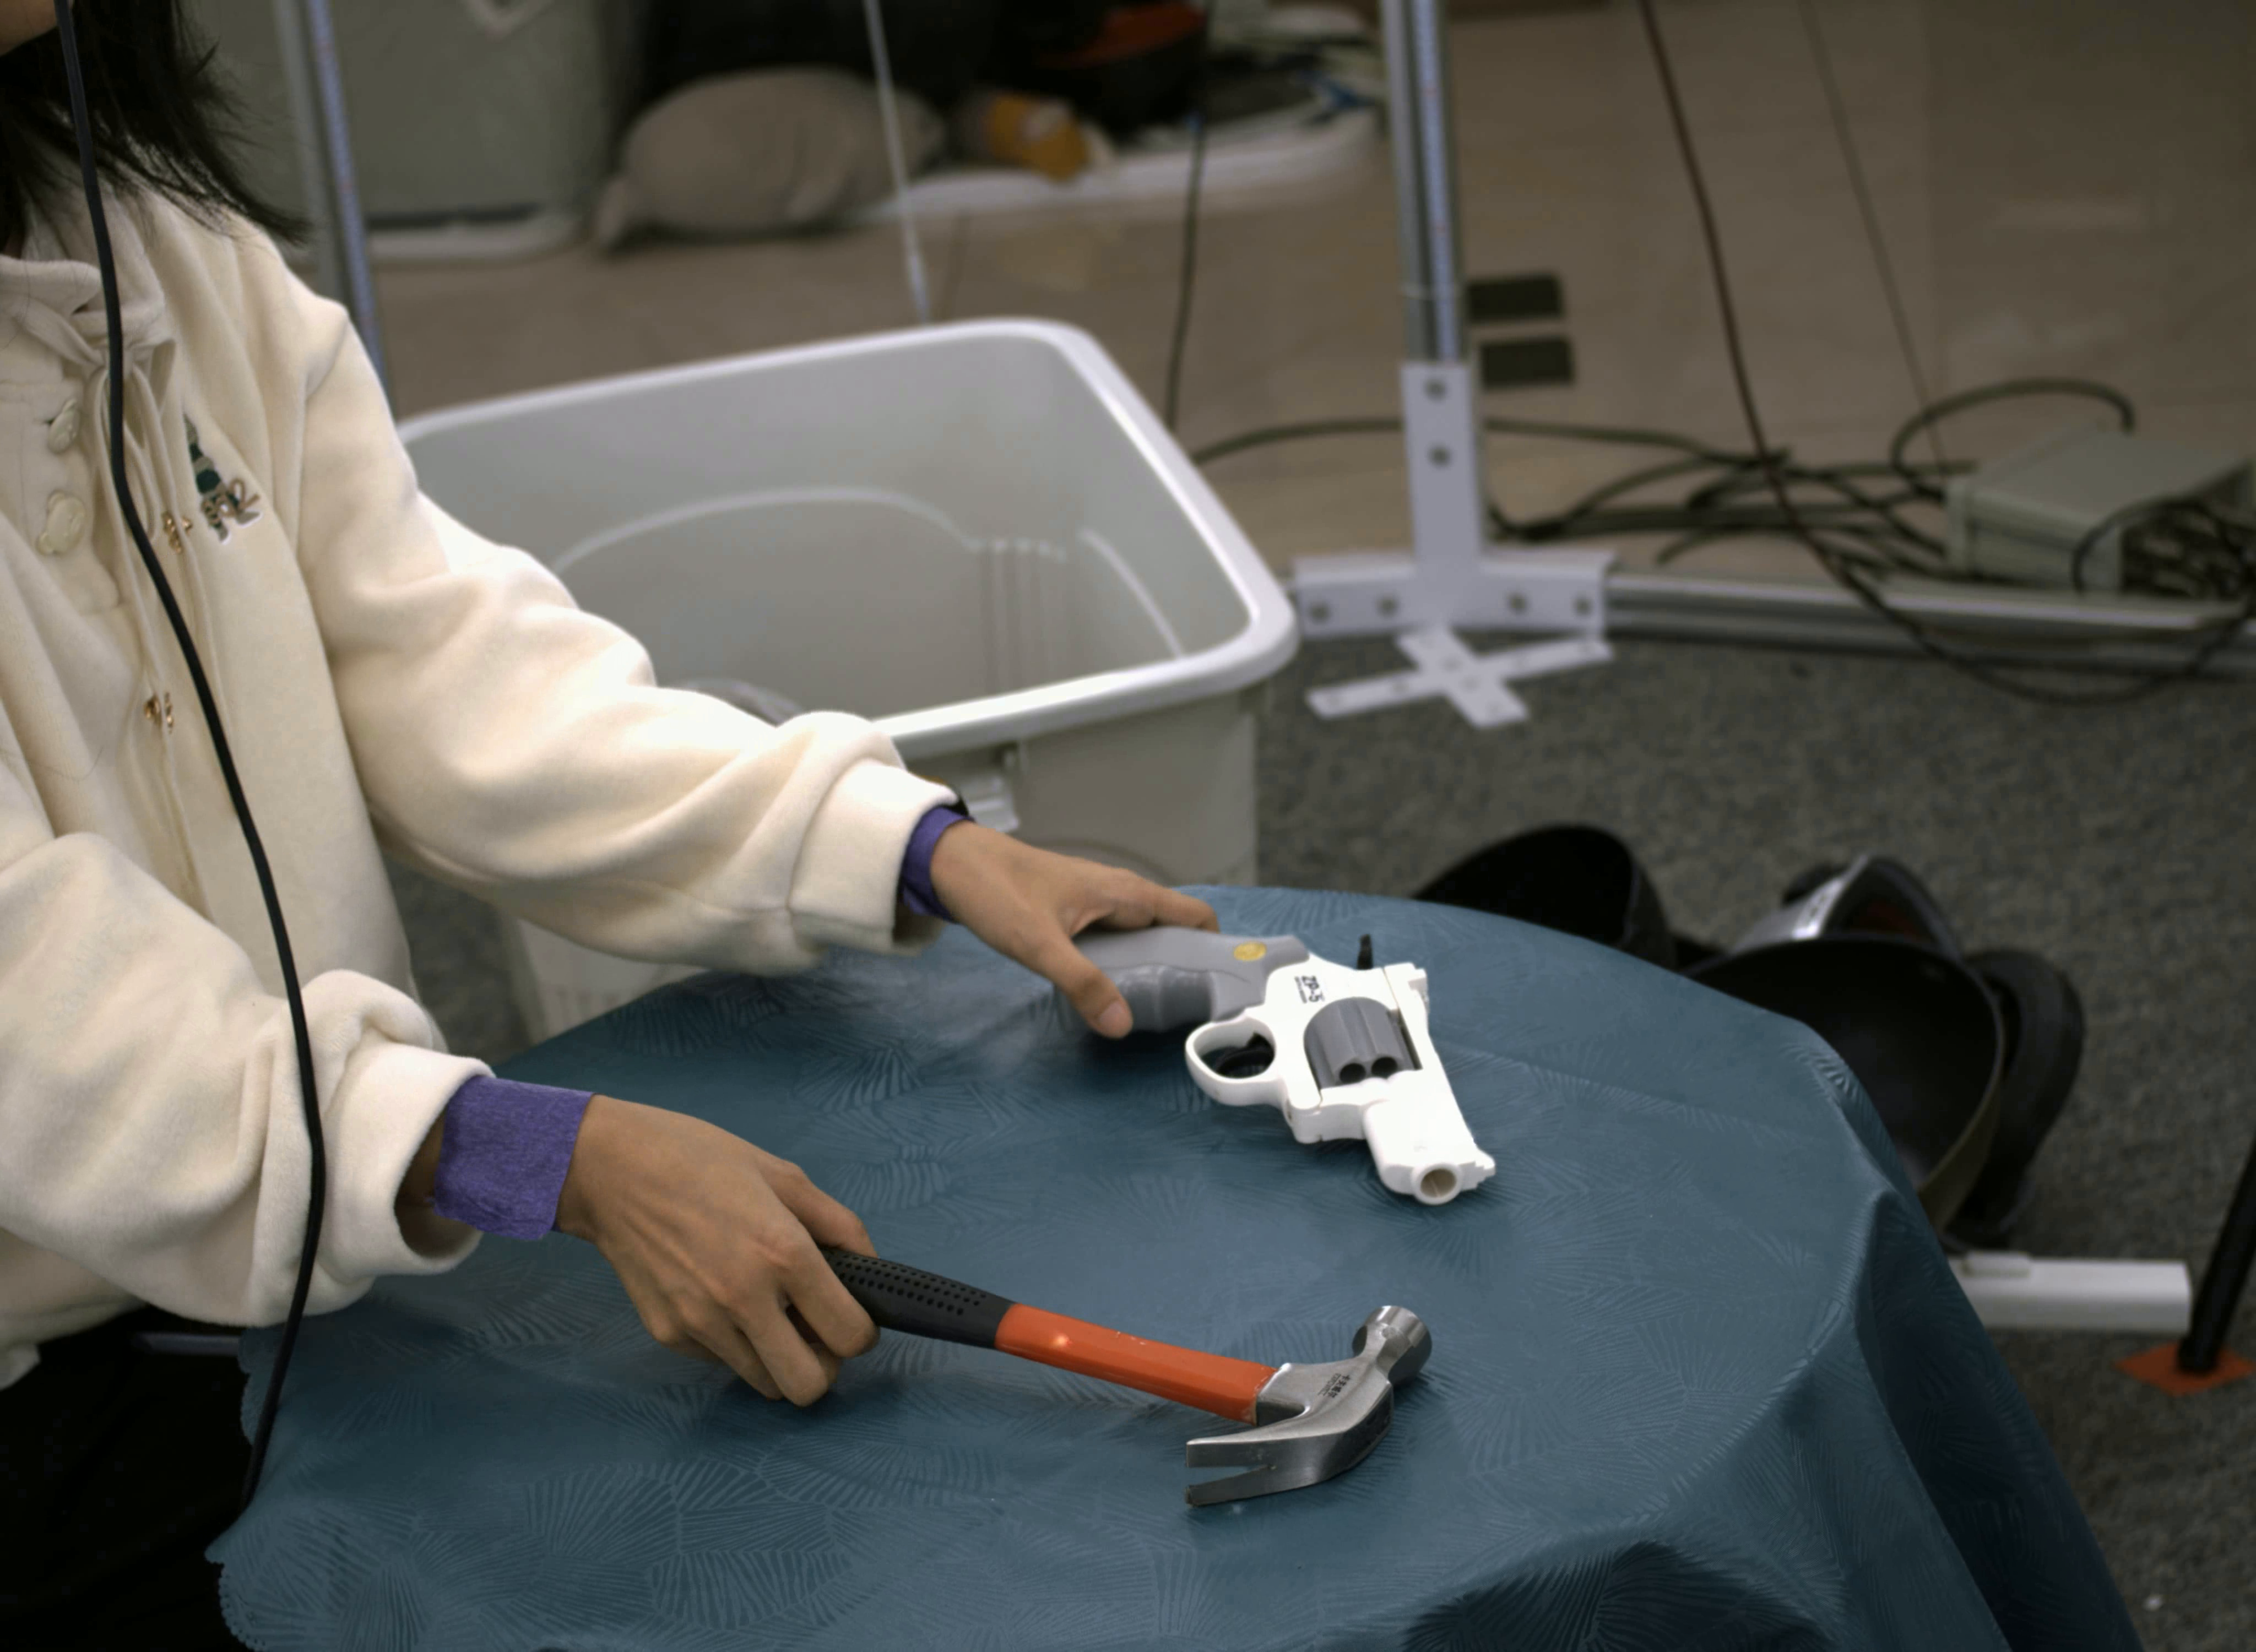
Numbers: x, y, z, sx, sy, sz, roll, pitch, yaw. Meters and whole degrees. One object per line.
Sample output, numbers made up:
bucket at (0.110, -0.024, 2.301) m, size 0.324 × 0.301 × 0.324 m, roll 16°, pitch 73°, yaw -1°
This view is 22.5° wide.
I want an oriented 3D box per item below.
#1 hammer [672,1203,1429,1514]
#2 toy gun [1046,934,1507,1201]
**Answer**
hammer at (-0.039, 0.178, 2.011) m, size 0.276 × 0.027 × 0.109 m, roll 12°, pitch 42°, yaw 24°
toy gun at (0.053, 0.090, 2.187) m, size 0.141 × 0.039 × 0.206 m, roll -10°, pitch 31°, yaw -8°
